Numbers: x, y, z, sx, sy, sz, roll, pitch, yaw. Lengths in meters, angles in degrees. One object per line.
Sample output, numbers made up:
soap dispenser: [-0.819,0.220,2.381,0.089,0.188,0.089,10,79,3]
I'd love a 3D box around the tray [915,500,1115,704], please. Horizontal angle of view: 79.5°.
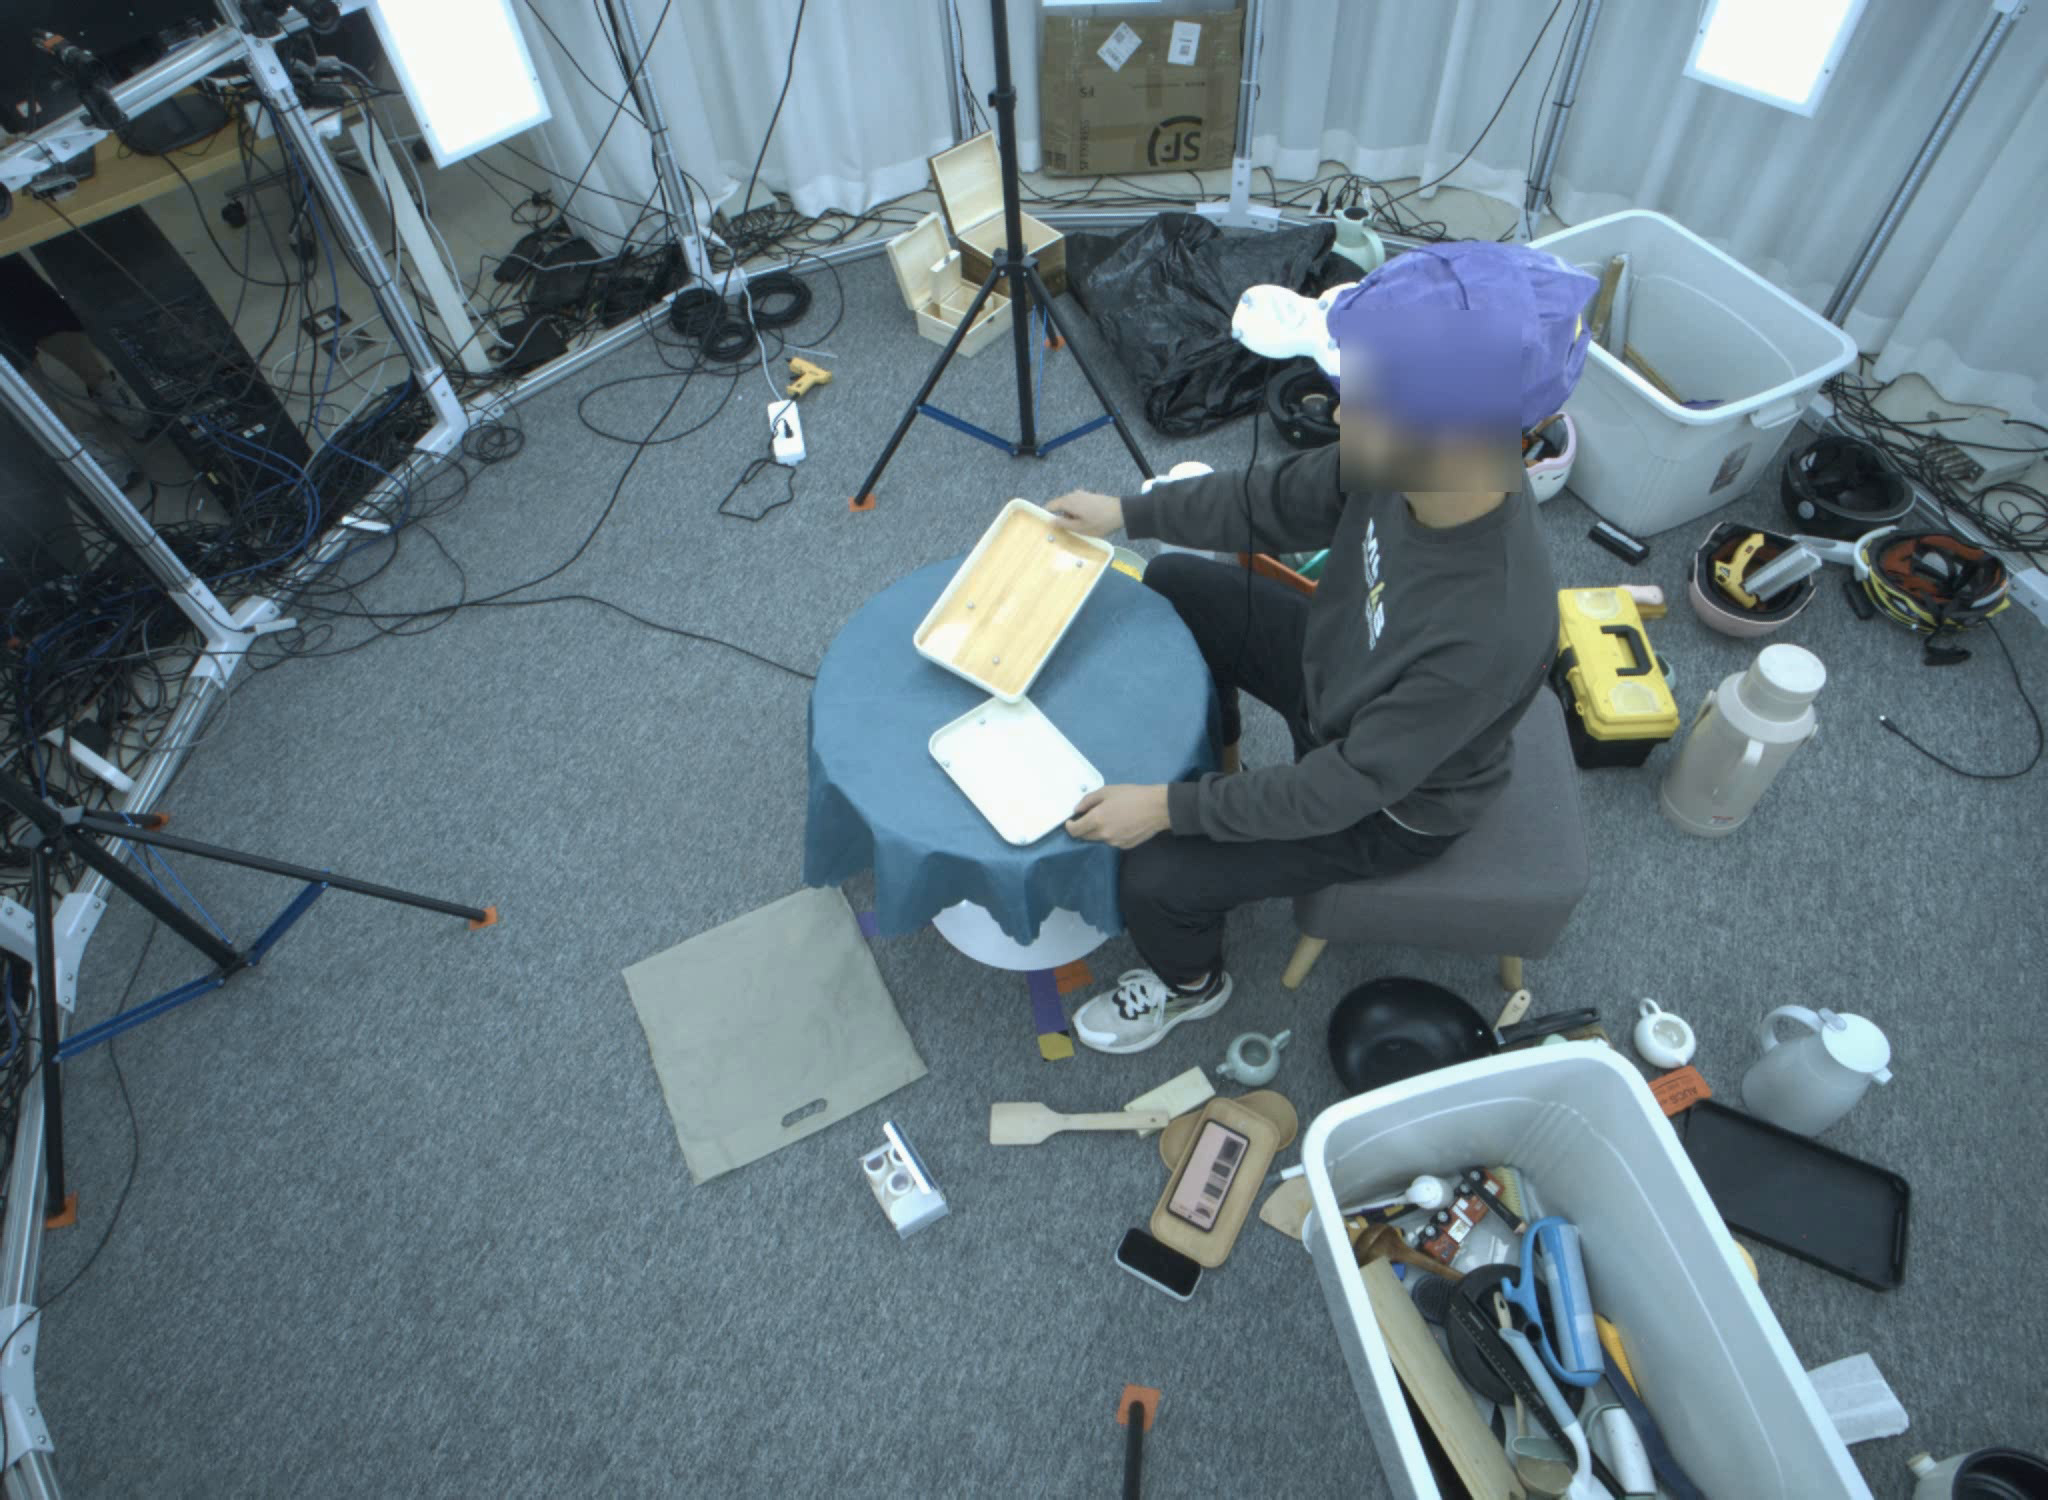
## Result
tray: [-0.012,-0.229,1.864,0.190,0.027,0.300,29,73,11]

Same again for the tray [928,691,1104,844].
tray: [-0.013,0.023,1.759,0.173,0.017,0.235,-32,60,-20]
